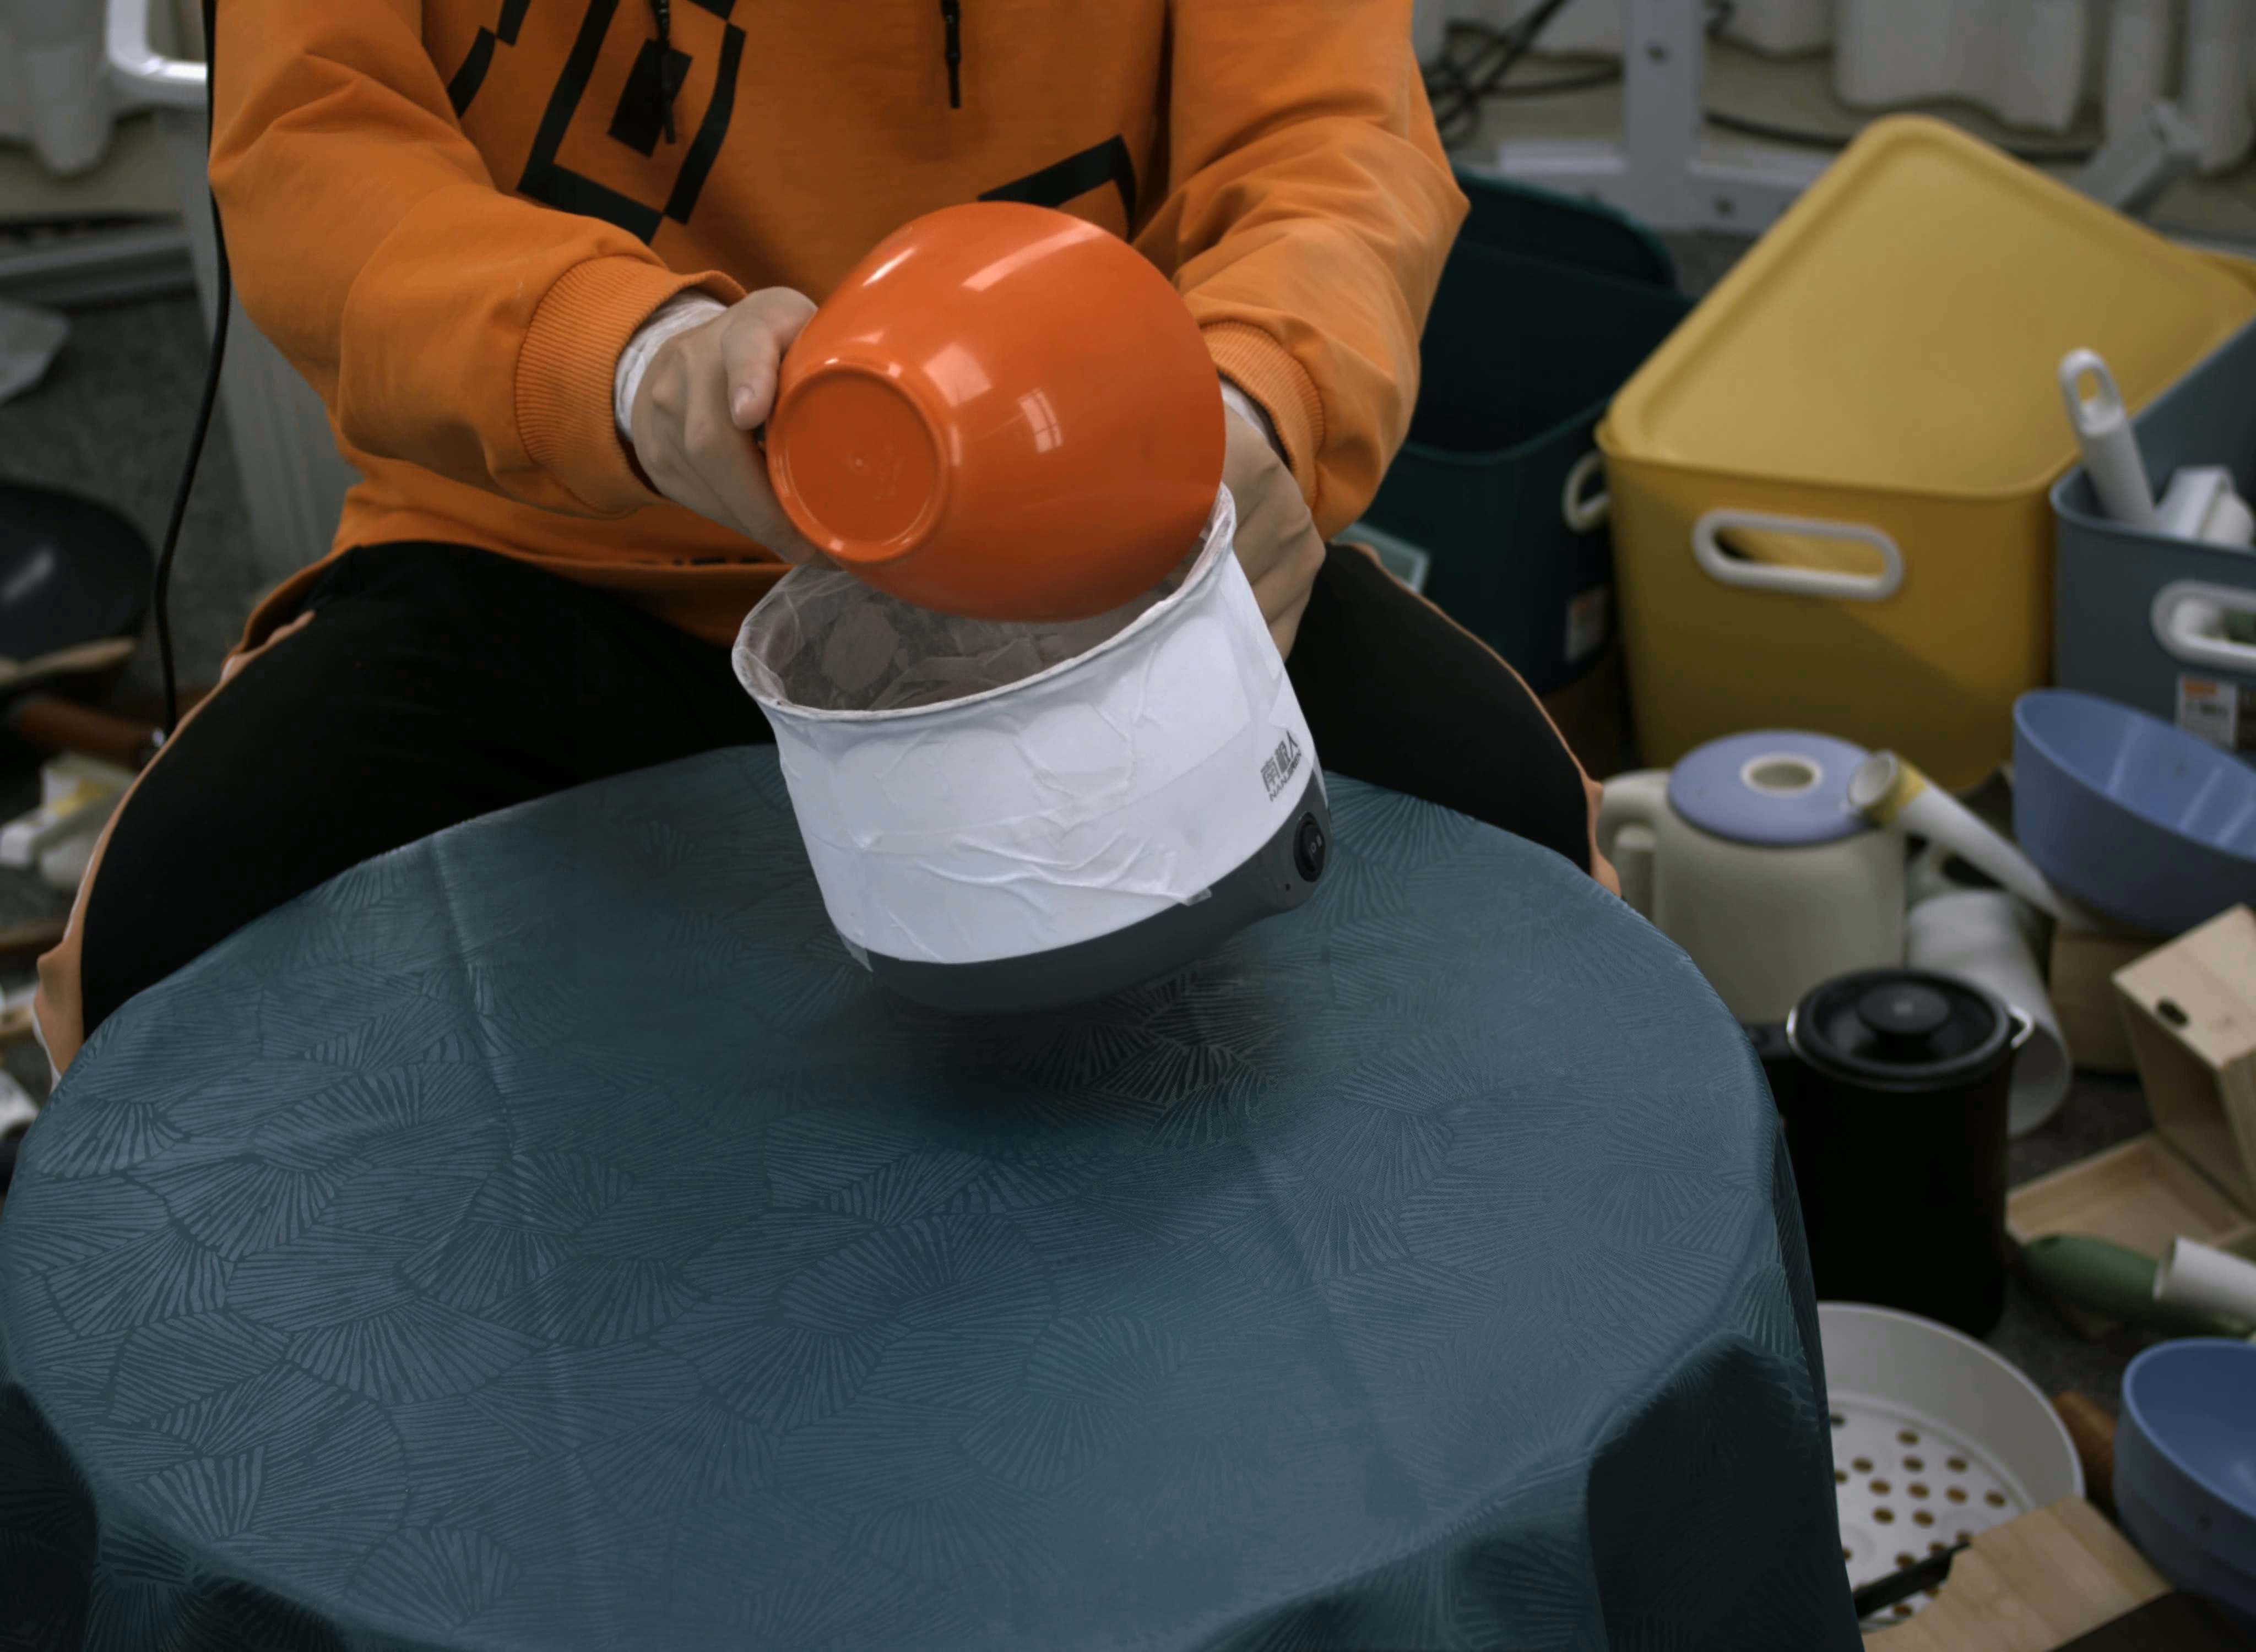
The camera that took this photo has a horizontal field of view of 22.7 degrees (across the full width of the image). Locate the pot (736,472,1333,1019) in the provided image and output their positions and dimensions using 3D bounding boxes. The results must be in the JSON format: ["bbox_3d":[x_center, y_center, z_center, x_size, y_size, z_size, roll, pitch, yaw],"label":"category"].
[{"bbox_3d":[-0.021,-0.044,1.933,0.177,0.135,0.238,-5,30,25],"label":"pot"}]

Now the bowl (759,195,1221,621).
[{"bbox_3d":[-0.057,-0.128,1.859,0.147,0.147,0.106,10,19,23],"label":"bowl"}]
